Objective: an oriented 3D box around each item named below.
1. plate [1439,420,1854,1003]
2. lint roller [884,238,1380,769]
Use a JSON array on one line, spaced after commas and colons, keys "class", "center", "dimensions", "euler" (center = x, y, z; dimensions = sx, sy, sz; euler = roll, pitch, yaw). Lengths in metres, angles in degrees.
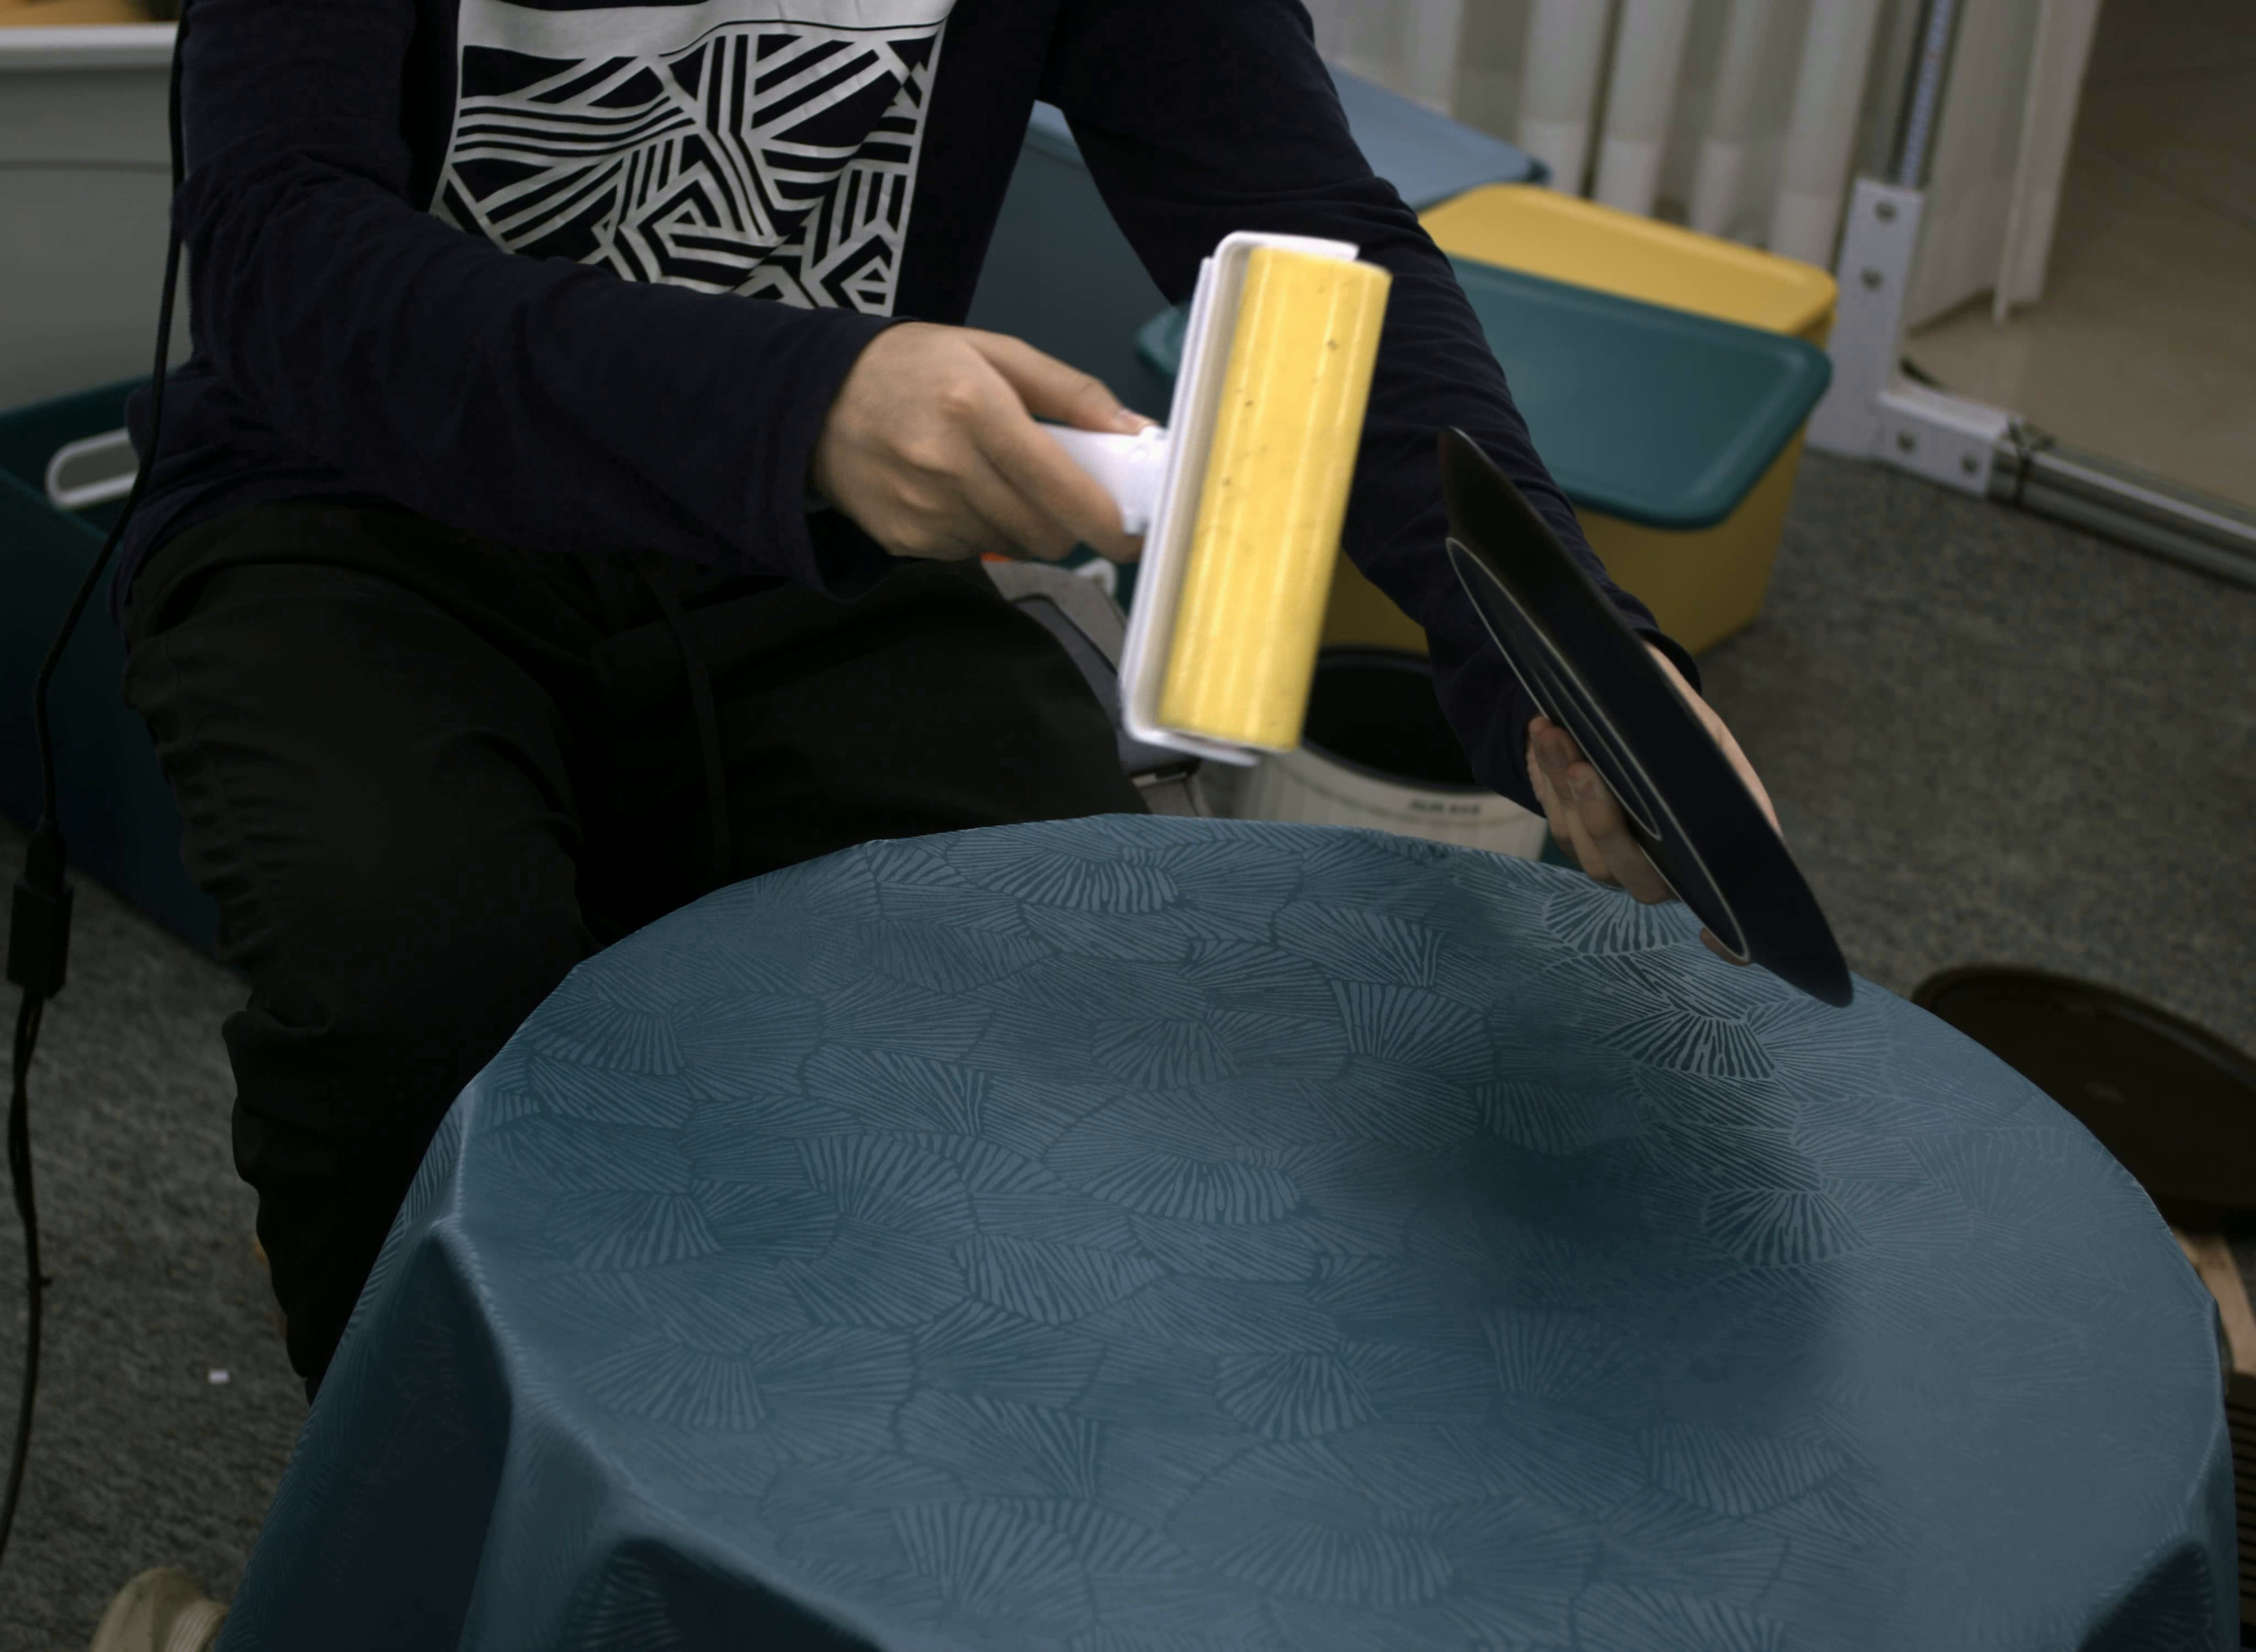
[{"class": "plate", "center": [0.170, -0.034, 1.835], "dimensions": [0.023, 0.242, 0.246], "euler": [-35, 34, -1]}, {"class": "lint roller", "center": [-0.014, -0.116, 1.787], "dimensions": [0.193, 0.175, 0.051], "euler": [9, -3, 33]}]
